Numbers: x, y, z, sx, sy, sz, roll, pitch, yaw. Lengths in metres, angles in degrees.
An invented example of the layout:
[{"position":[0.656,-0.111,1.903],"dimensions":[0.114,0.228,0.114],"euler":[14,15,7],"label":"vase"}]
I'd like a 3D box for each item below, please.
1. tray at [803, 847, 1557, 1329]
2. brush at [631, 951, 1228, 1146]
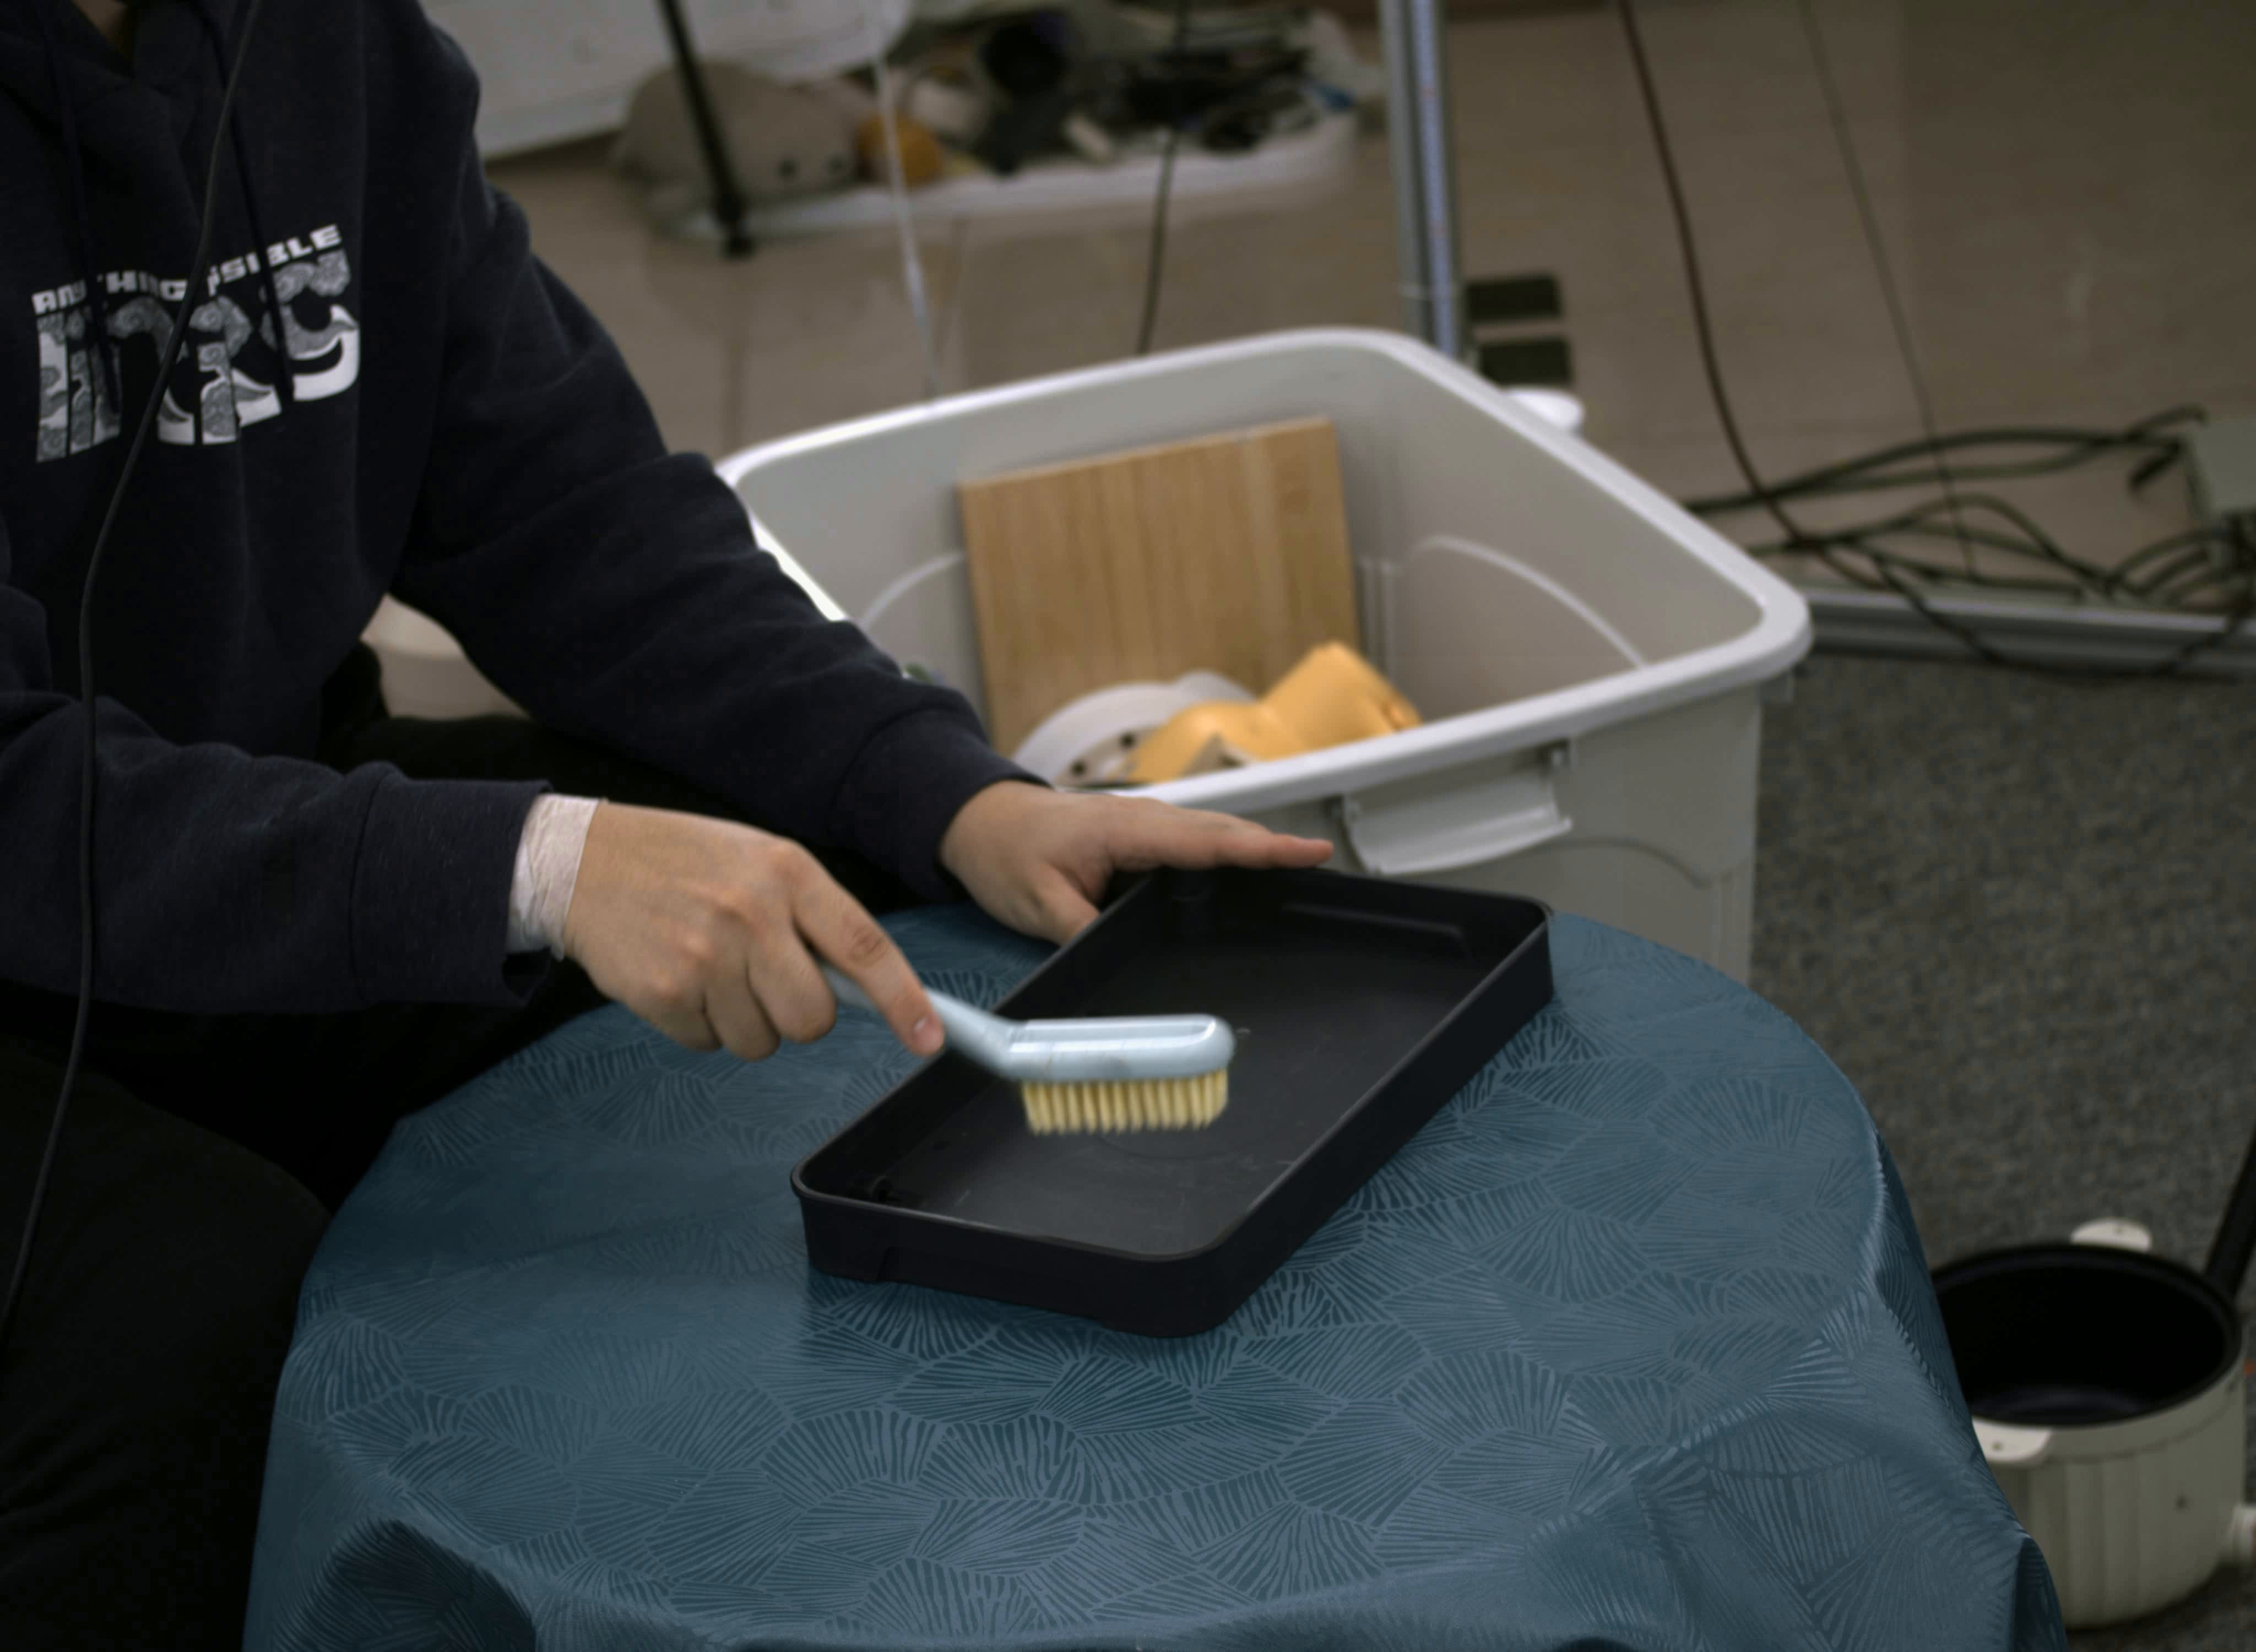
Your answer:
[{"position":[0.027,0.095,2.194],"dimensions":[0.183,0.037,0.314],"euler":[7,28,28],"label":"tray"},{"position":[-0.076,0.084,2.105],"dimensions":[0.228,0.050,0.037],"euler":[10,24,11],"label":"brush"}]
